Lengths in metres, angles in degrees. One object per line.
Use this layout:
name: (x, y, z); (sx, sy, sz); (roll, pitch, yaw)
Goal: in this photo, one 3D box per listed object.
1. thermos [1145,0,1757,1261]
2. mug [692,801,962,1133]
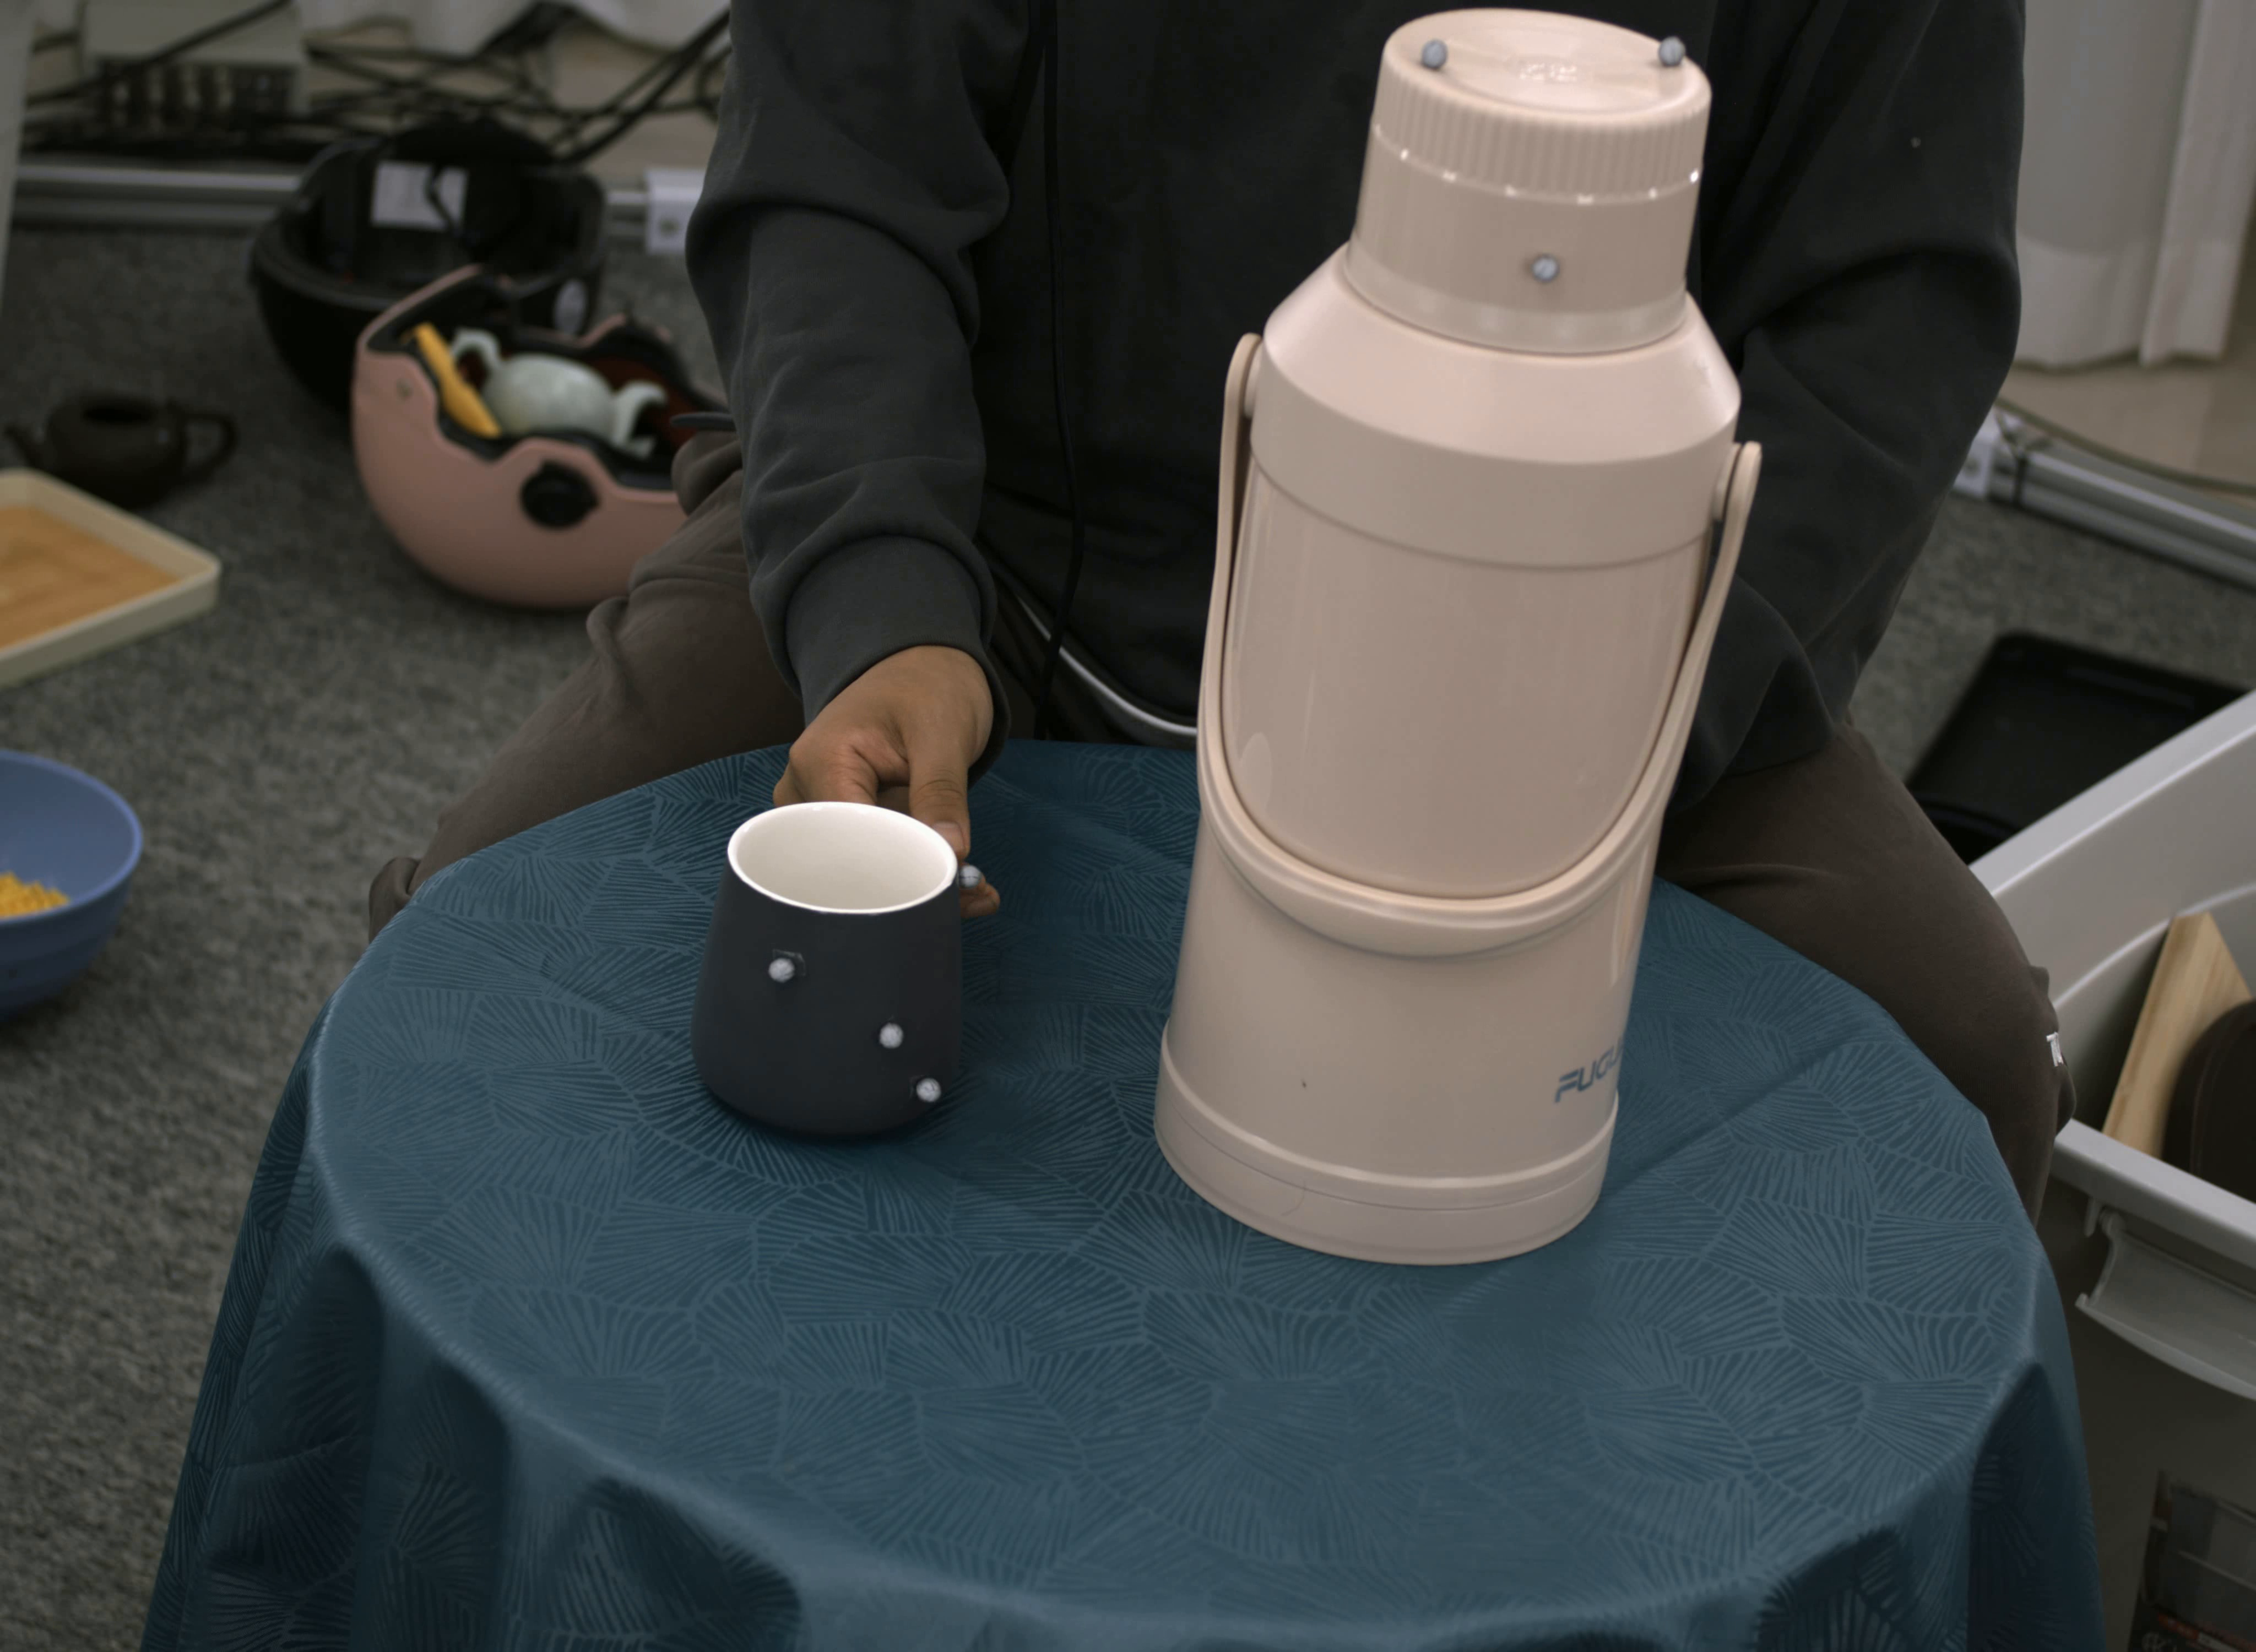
thermos: (0.113, -0.070, 1.778); (0.175, 0.405, 0.207); (13, 27, 11)
mug: (-0.096, 0.043, 1.840); (0.094, 0.089, 0.123); (16, 29, 16)
